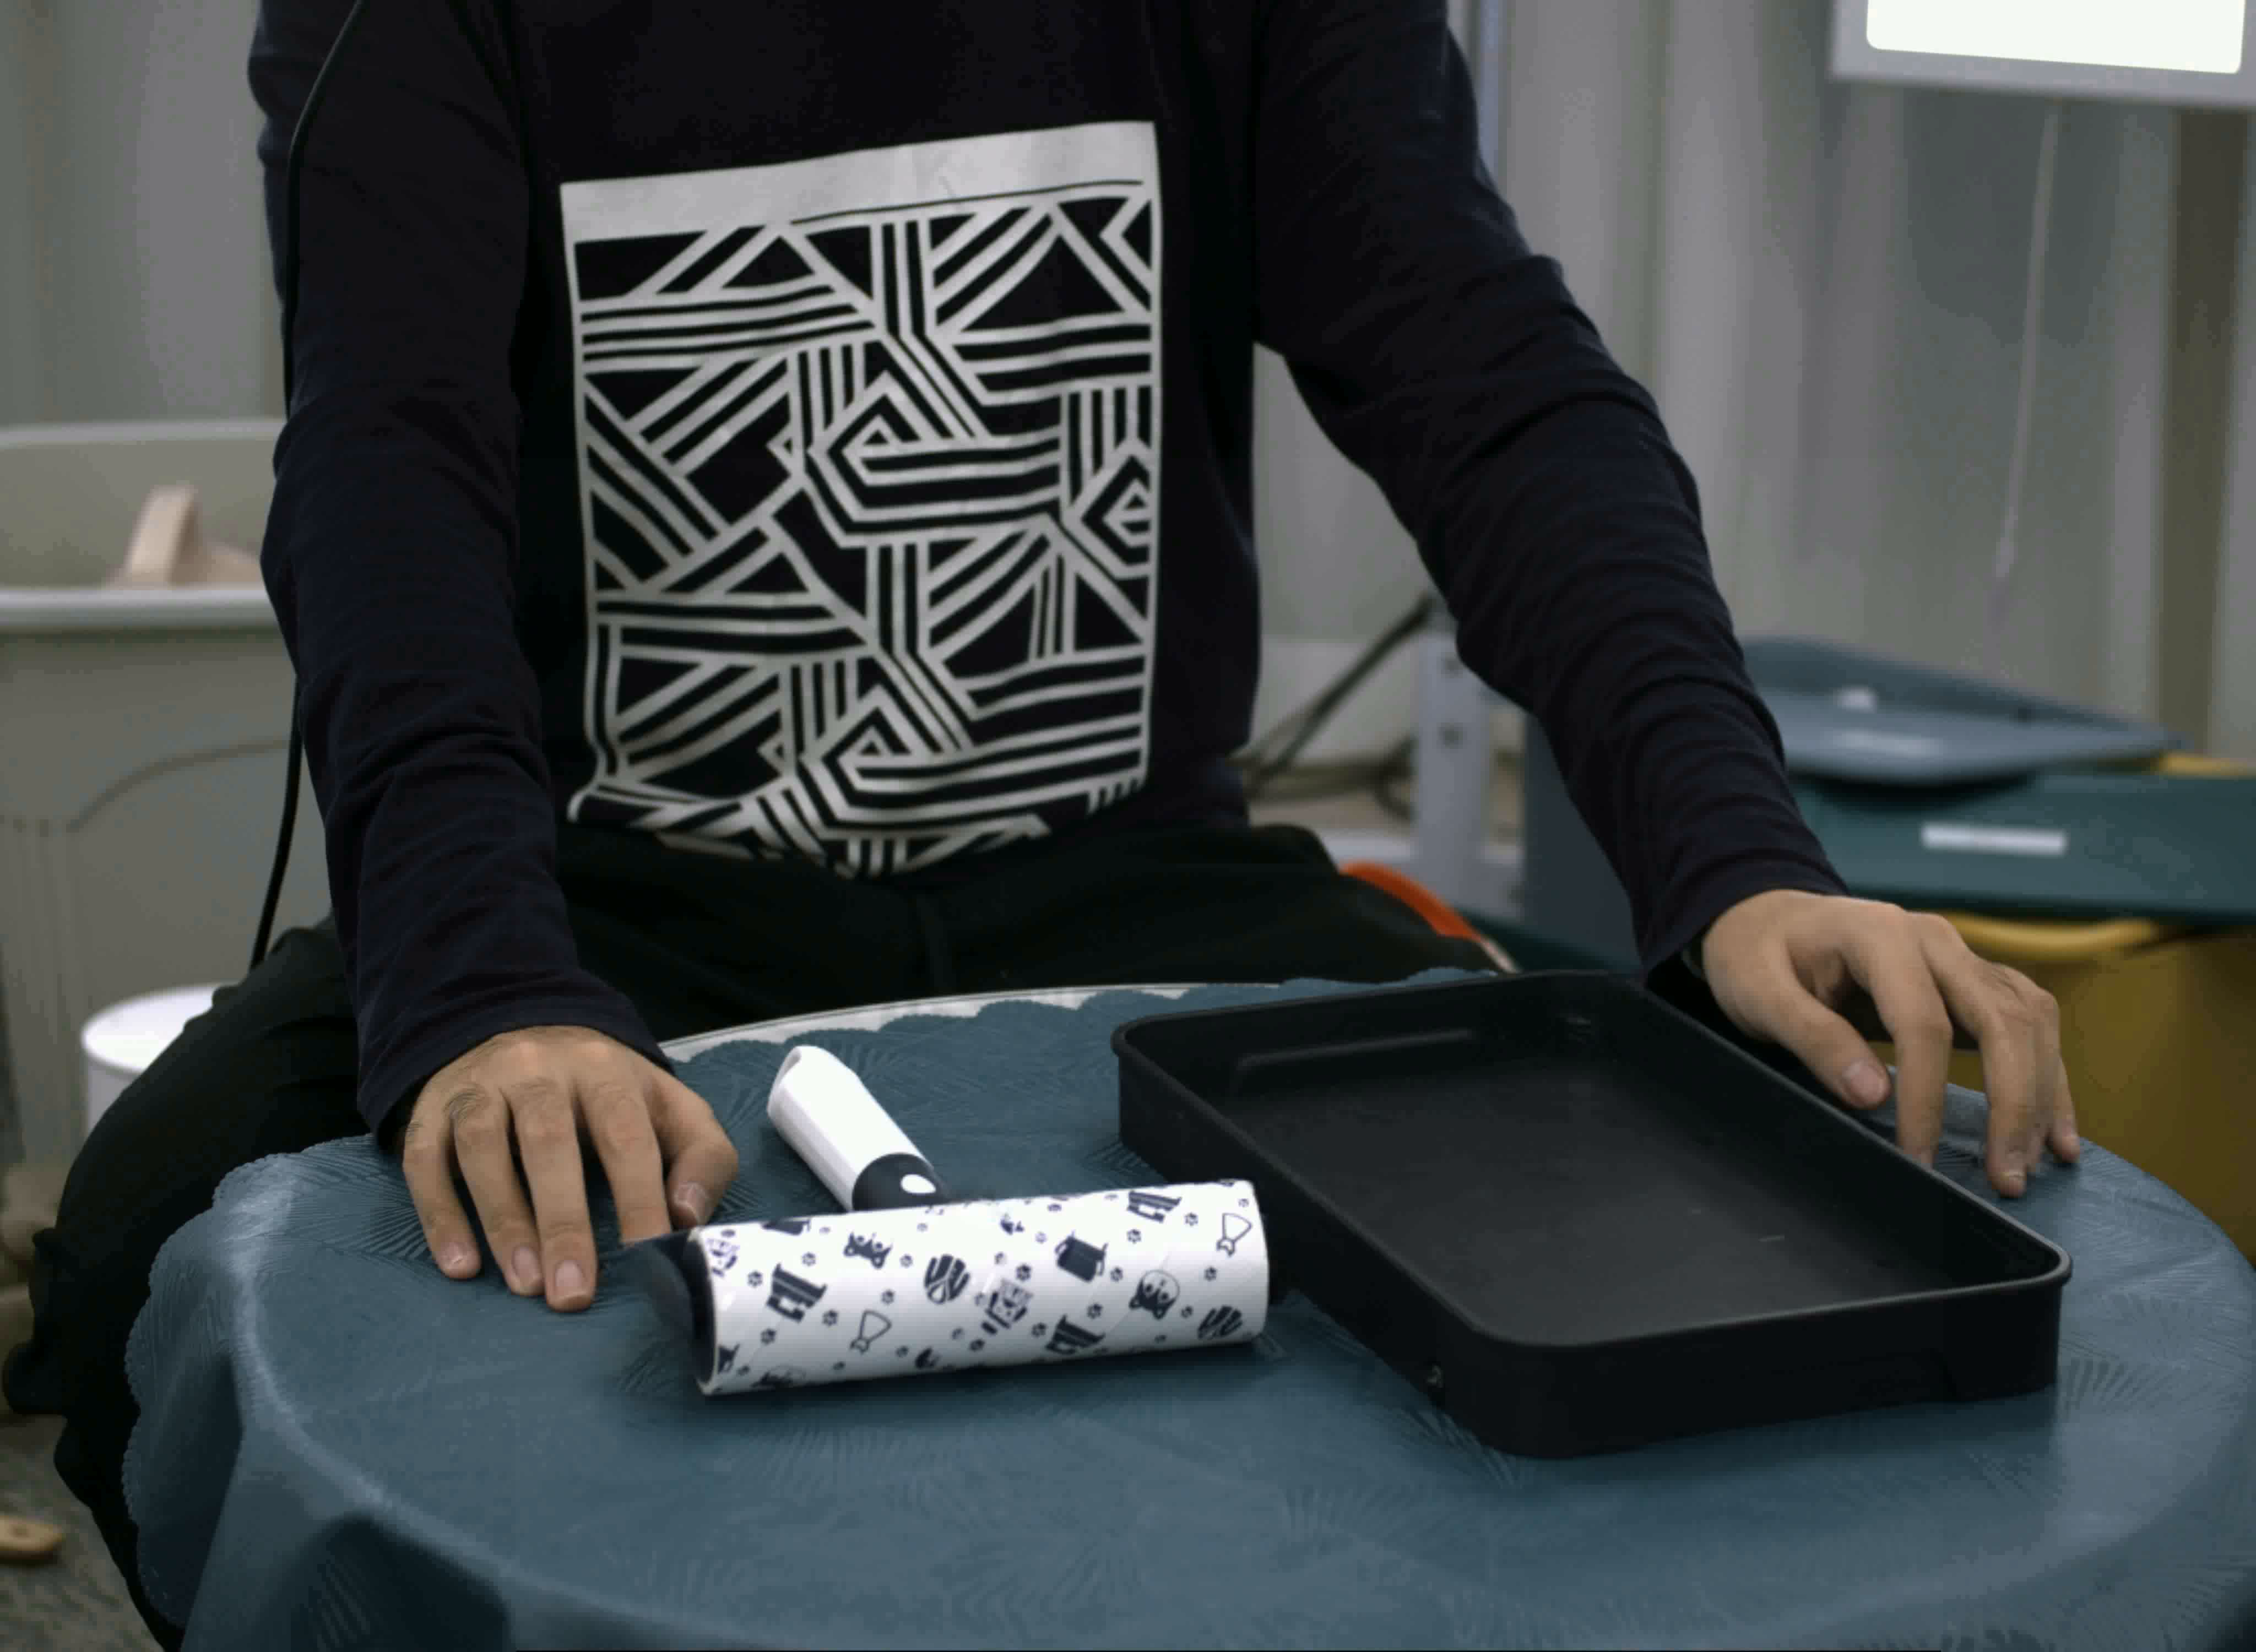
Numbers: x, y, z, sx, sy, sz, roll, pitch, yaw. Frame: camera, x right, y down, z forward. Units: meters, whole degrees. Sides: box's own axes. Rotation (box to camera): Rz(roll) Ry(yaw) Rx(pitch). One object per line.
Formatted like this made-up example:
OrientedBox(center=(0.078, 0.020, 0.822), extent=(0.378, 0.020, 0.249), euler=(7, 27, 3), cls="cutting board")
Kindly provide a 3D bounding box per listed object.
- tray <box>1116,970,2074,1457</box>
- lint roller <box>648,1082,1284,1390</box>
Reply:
OrientedBox(center=(0.130, 0.109, 1.575), extent=(0.185, 0.037, 0.314), euler=(-5, 16, -20), cls="tray")
OrientedBox(center=(-0.073, 0.107, 1.567), extent=(0.176, 0.051, 0.244), euler=(-5, 13, -17), cls="lint roller")
